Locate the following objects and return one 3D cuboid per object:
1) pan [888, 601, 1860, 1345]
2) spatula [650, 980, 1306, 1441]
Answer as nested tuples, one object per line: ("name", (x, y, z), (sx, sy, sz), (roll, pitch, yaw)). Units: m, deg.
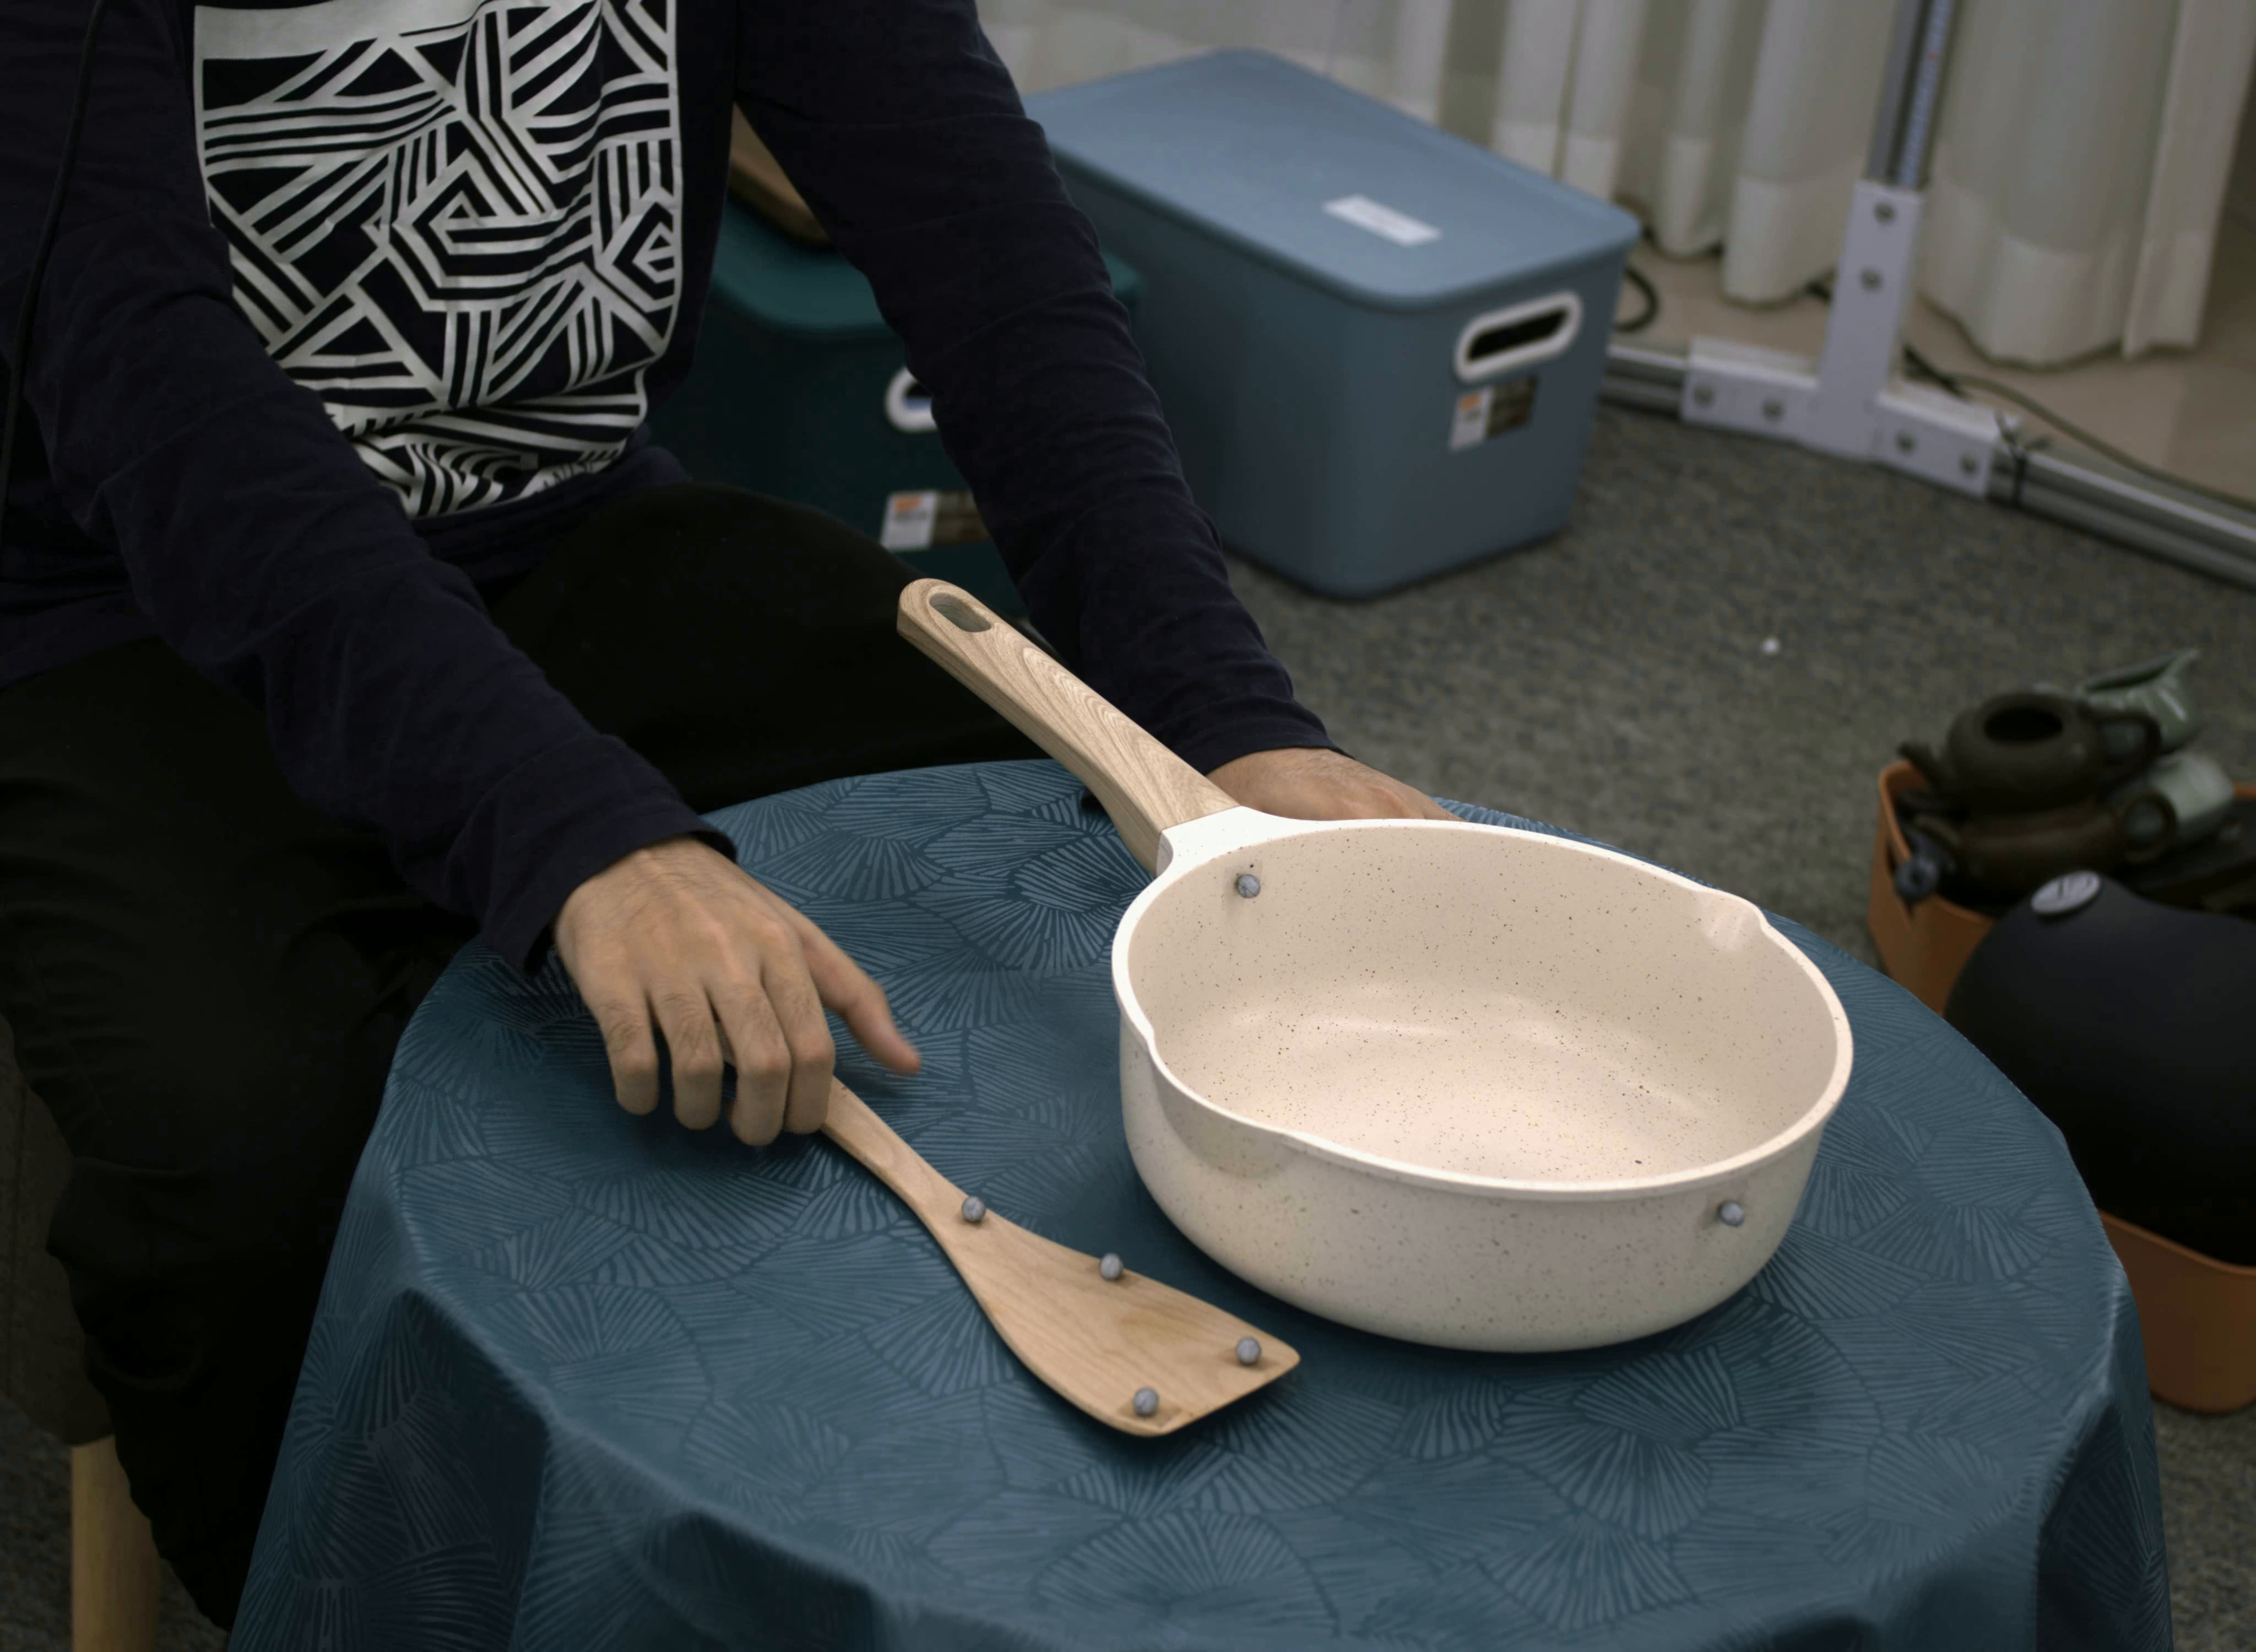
("pan", (0.058, 0.047, 1.870), (0.262, 0.101, 0.438), (-18, 35, -38))
("spatula", (-0.063, 0.122, 1.786), (0.079, 0.016, 0.330), (-15, 34, -36))
